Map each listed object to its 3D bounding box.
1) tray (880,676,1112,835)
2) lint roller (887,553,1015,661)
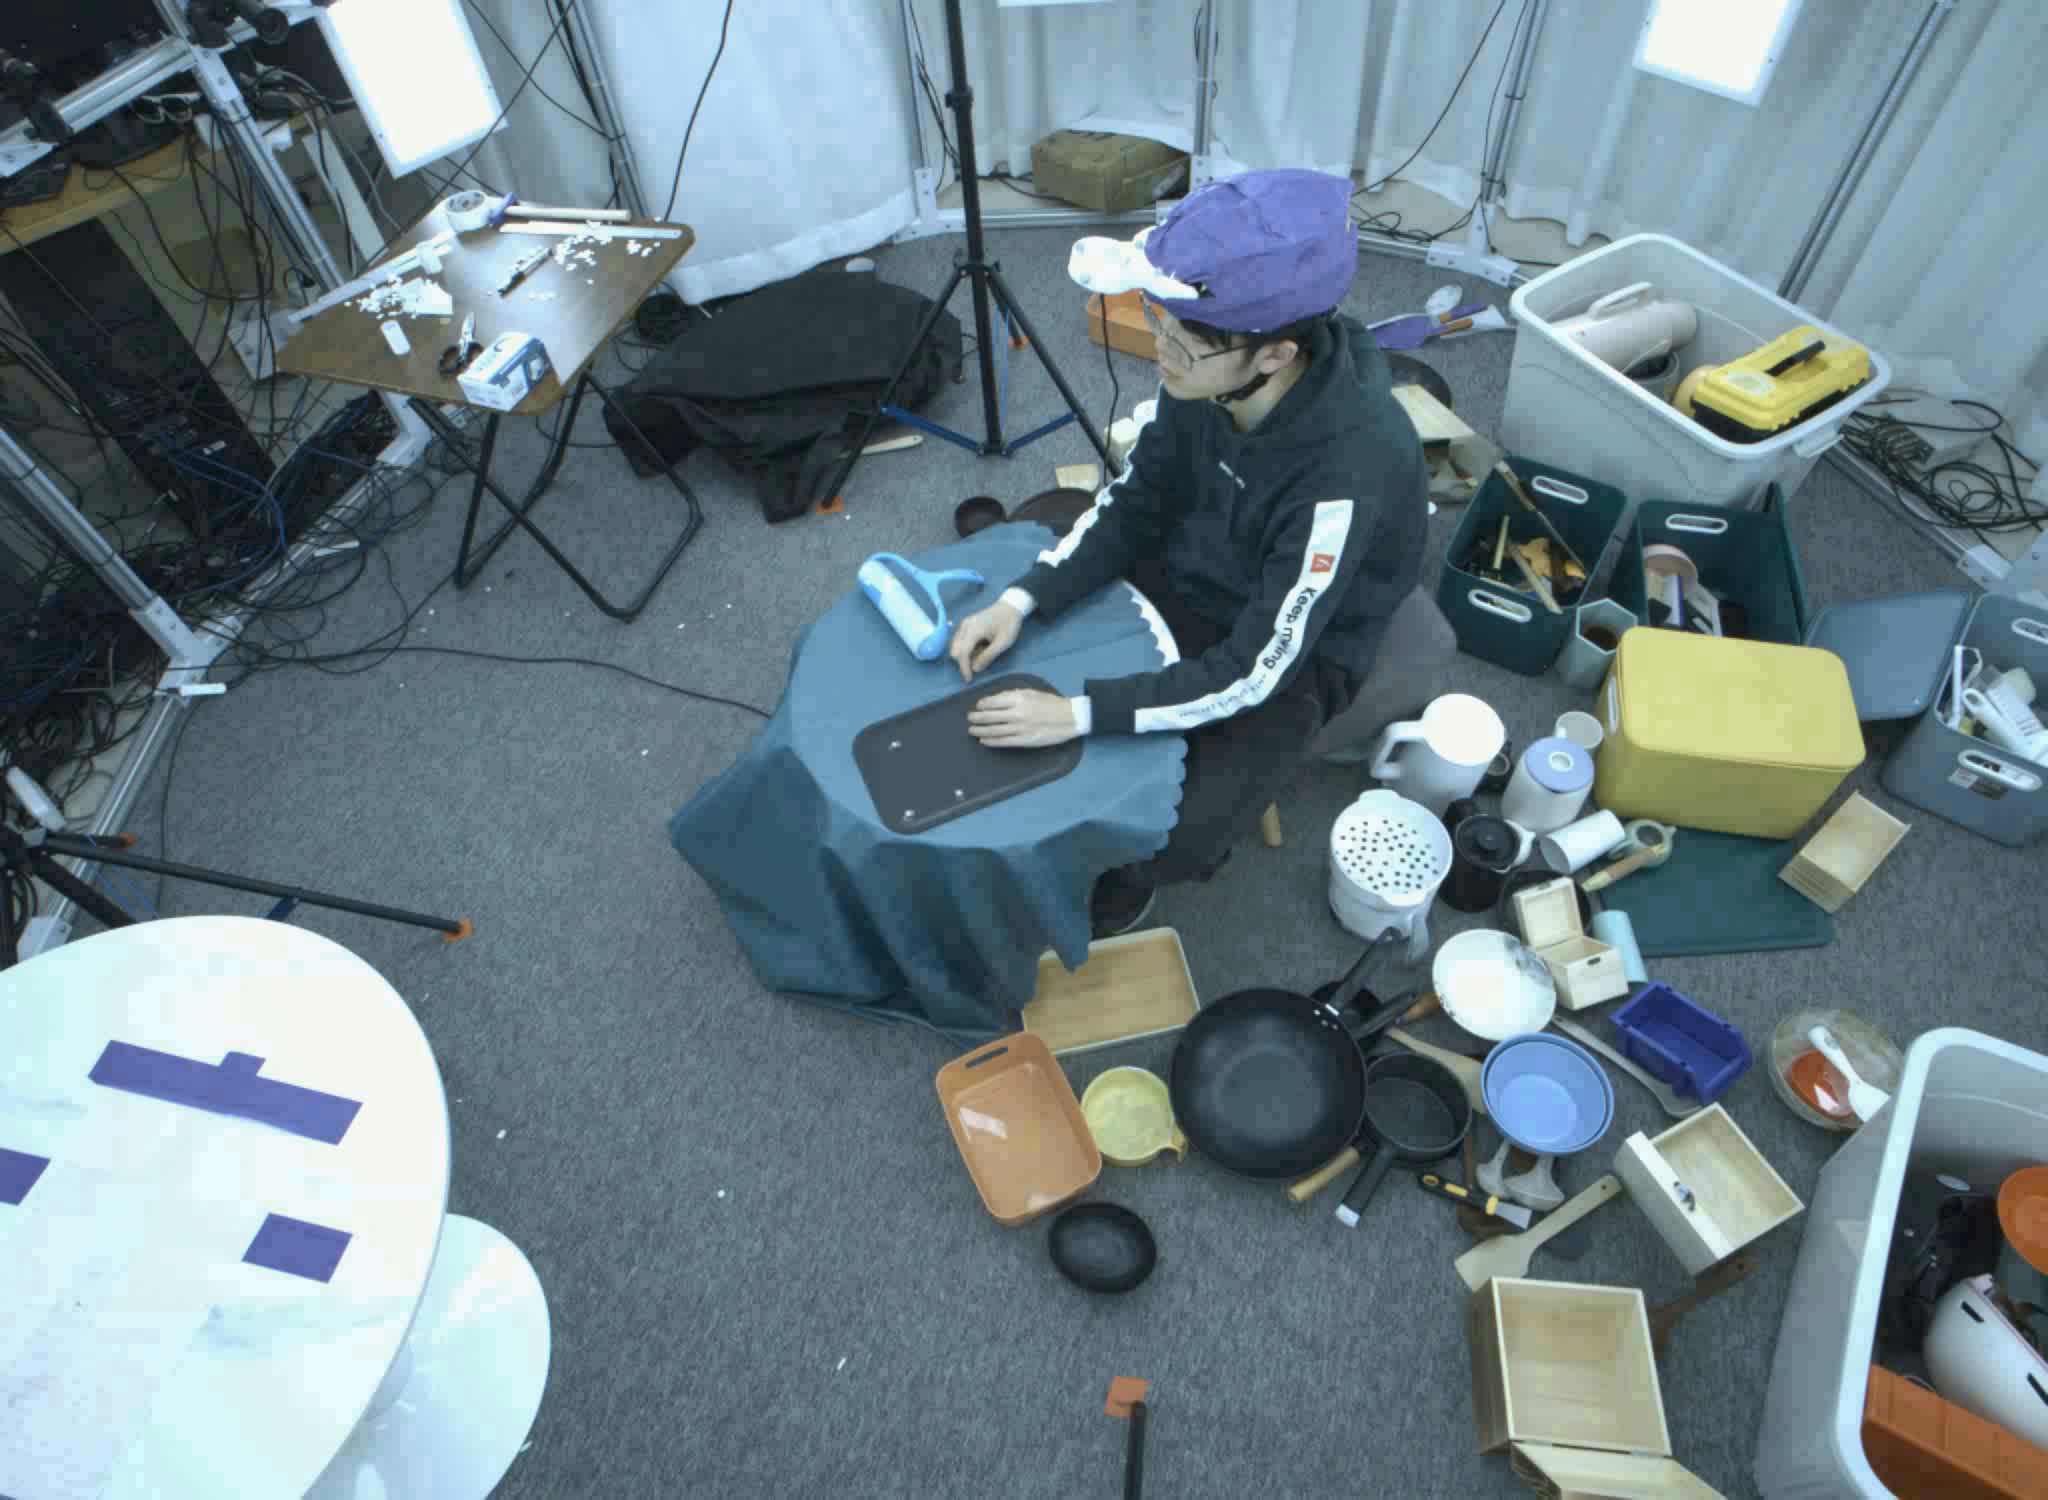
[{"bbox_3d":[-0.037,-0.002,1.781,0.327,0.010,0.207,-19,56,-11],"label":"tray"},{"bbox_3d":[-0.098,-0.249,1.928,0.181,0.069,0.224,-30,57,-17],"label":"lint roller"}]
